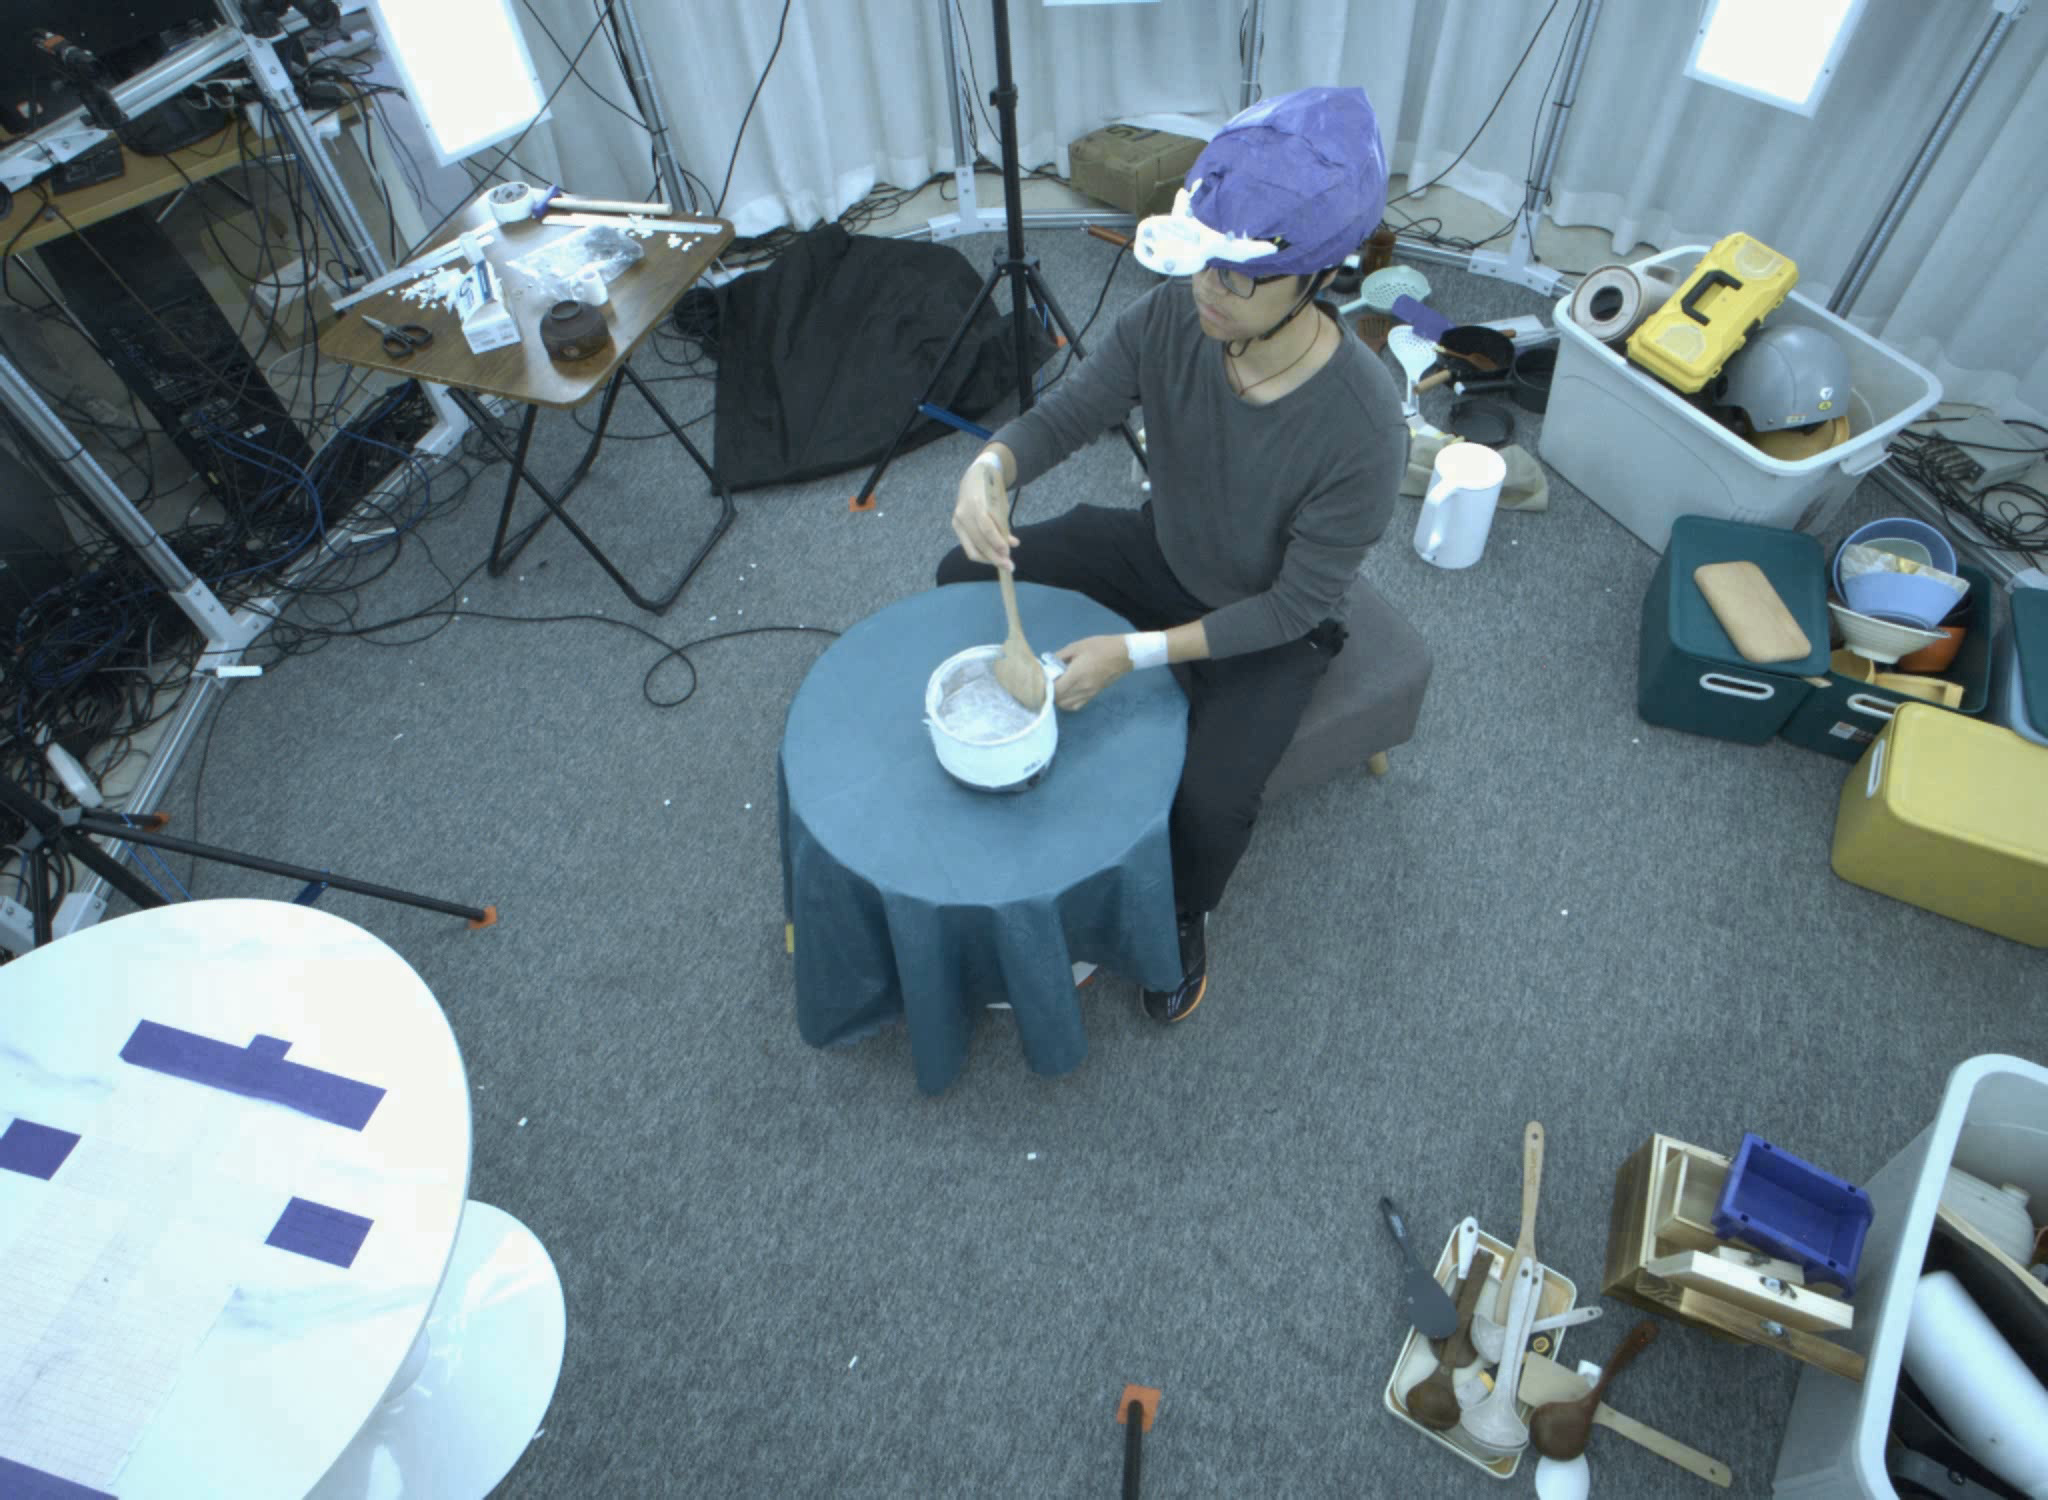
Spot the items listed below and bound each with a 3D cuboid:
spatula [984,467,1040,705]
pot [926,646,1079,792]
[{"bbox_3d":[-0.028,-0.210,1.619,0.094,0.396,0.018,30,58,29],"label":"spatula"},{"bbox_3d":[-0.021,-0.054,1.751,0.235,0.138,0.175,-34,60,-21],"label":"pot"}]
